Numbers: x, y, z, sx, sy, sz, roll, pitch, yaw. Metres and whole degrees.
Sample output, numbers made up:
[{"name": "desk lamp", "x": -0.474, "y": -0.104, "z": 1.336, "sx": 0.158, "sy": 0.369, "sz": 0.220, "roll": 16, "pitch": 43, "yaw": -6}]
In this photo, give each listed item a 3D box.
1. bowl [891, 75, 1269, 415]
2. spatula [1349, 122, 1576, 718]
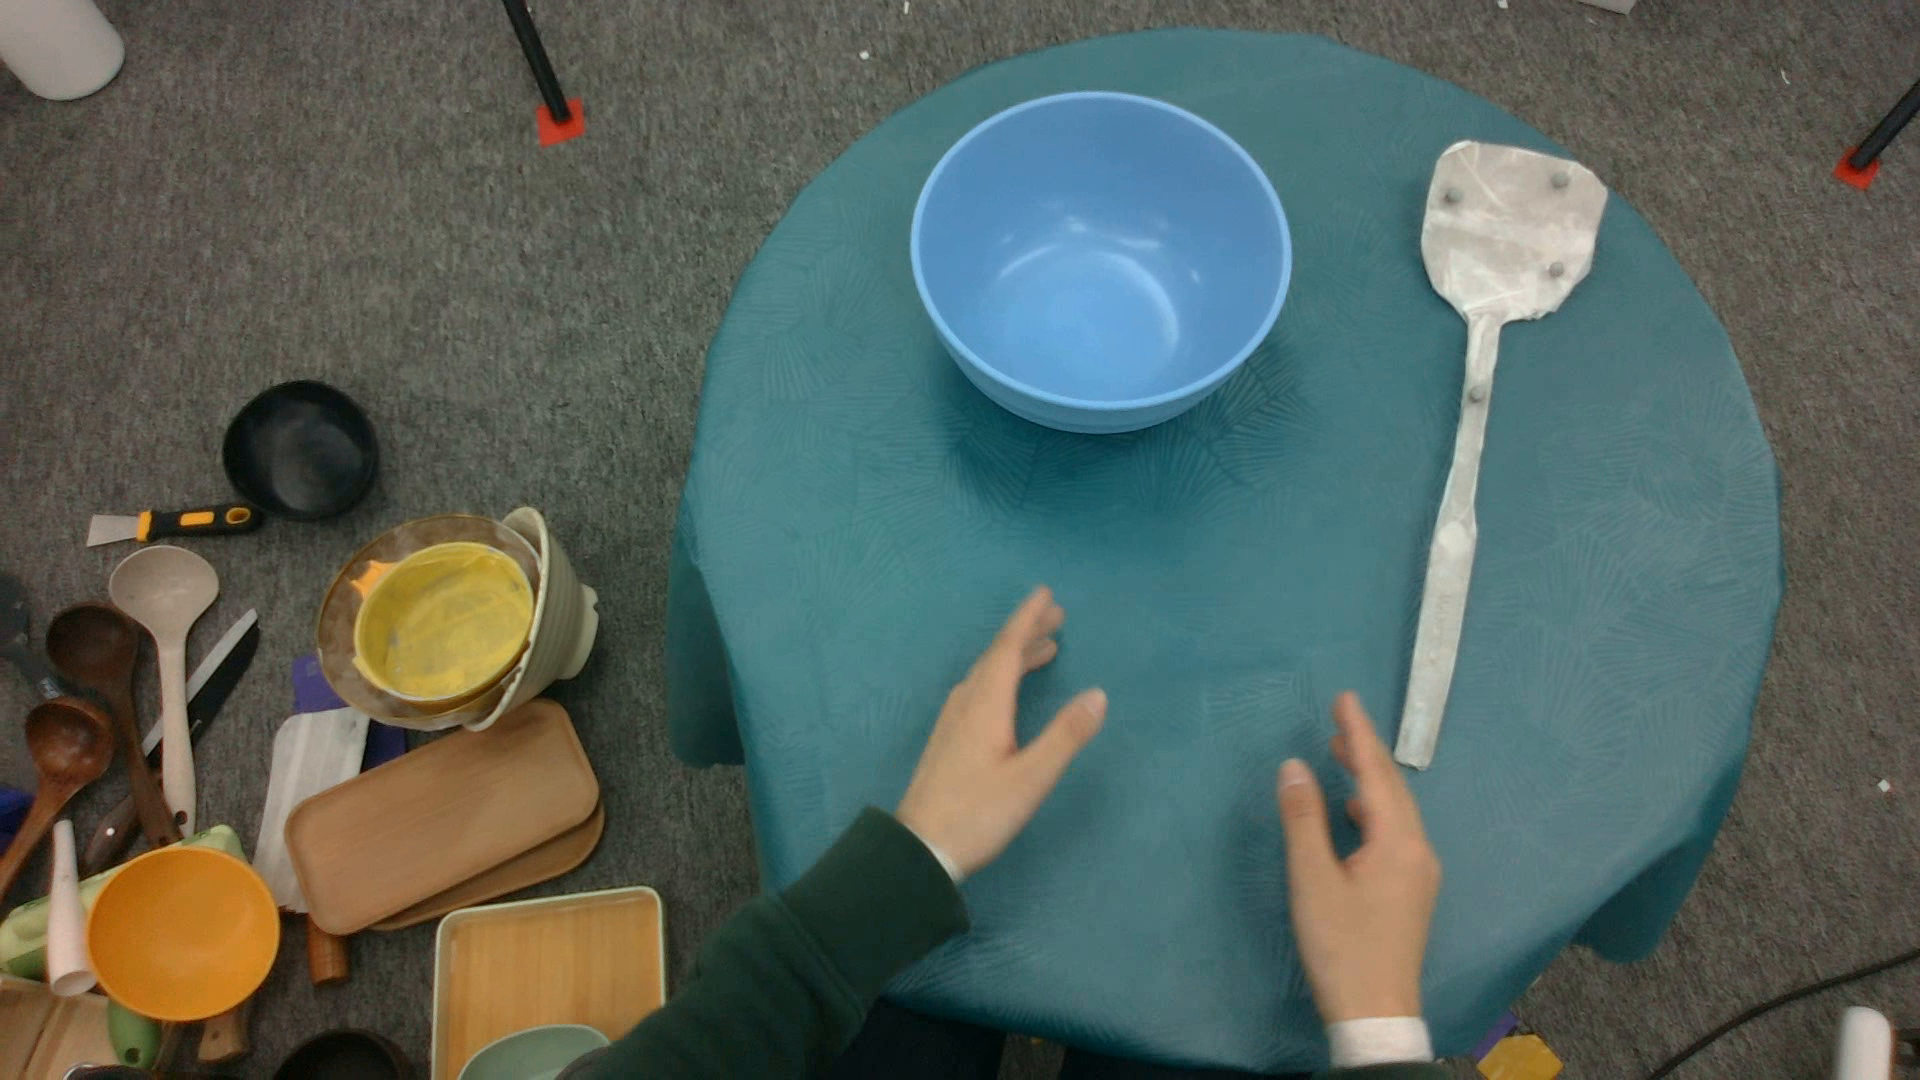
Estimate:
[{"name": "bowl", "x": 0.061, "y": -0.145, "z": 0.752, "sx": 0.196, "sy": 0.095, "sz": 0.197, "roll": 1, "pitch": 66, "yaw": -2}, {"name": "spatula", "x": 0.263, "y": -0.073, "z": 0.754, "sx": 0.098, "sy": 0.044, "sz": 0.366, "roll": 17, "pitch": 67, "yaw": 4}]
